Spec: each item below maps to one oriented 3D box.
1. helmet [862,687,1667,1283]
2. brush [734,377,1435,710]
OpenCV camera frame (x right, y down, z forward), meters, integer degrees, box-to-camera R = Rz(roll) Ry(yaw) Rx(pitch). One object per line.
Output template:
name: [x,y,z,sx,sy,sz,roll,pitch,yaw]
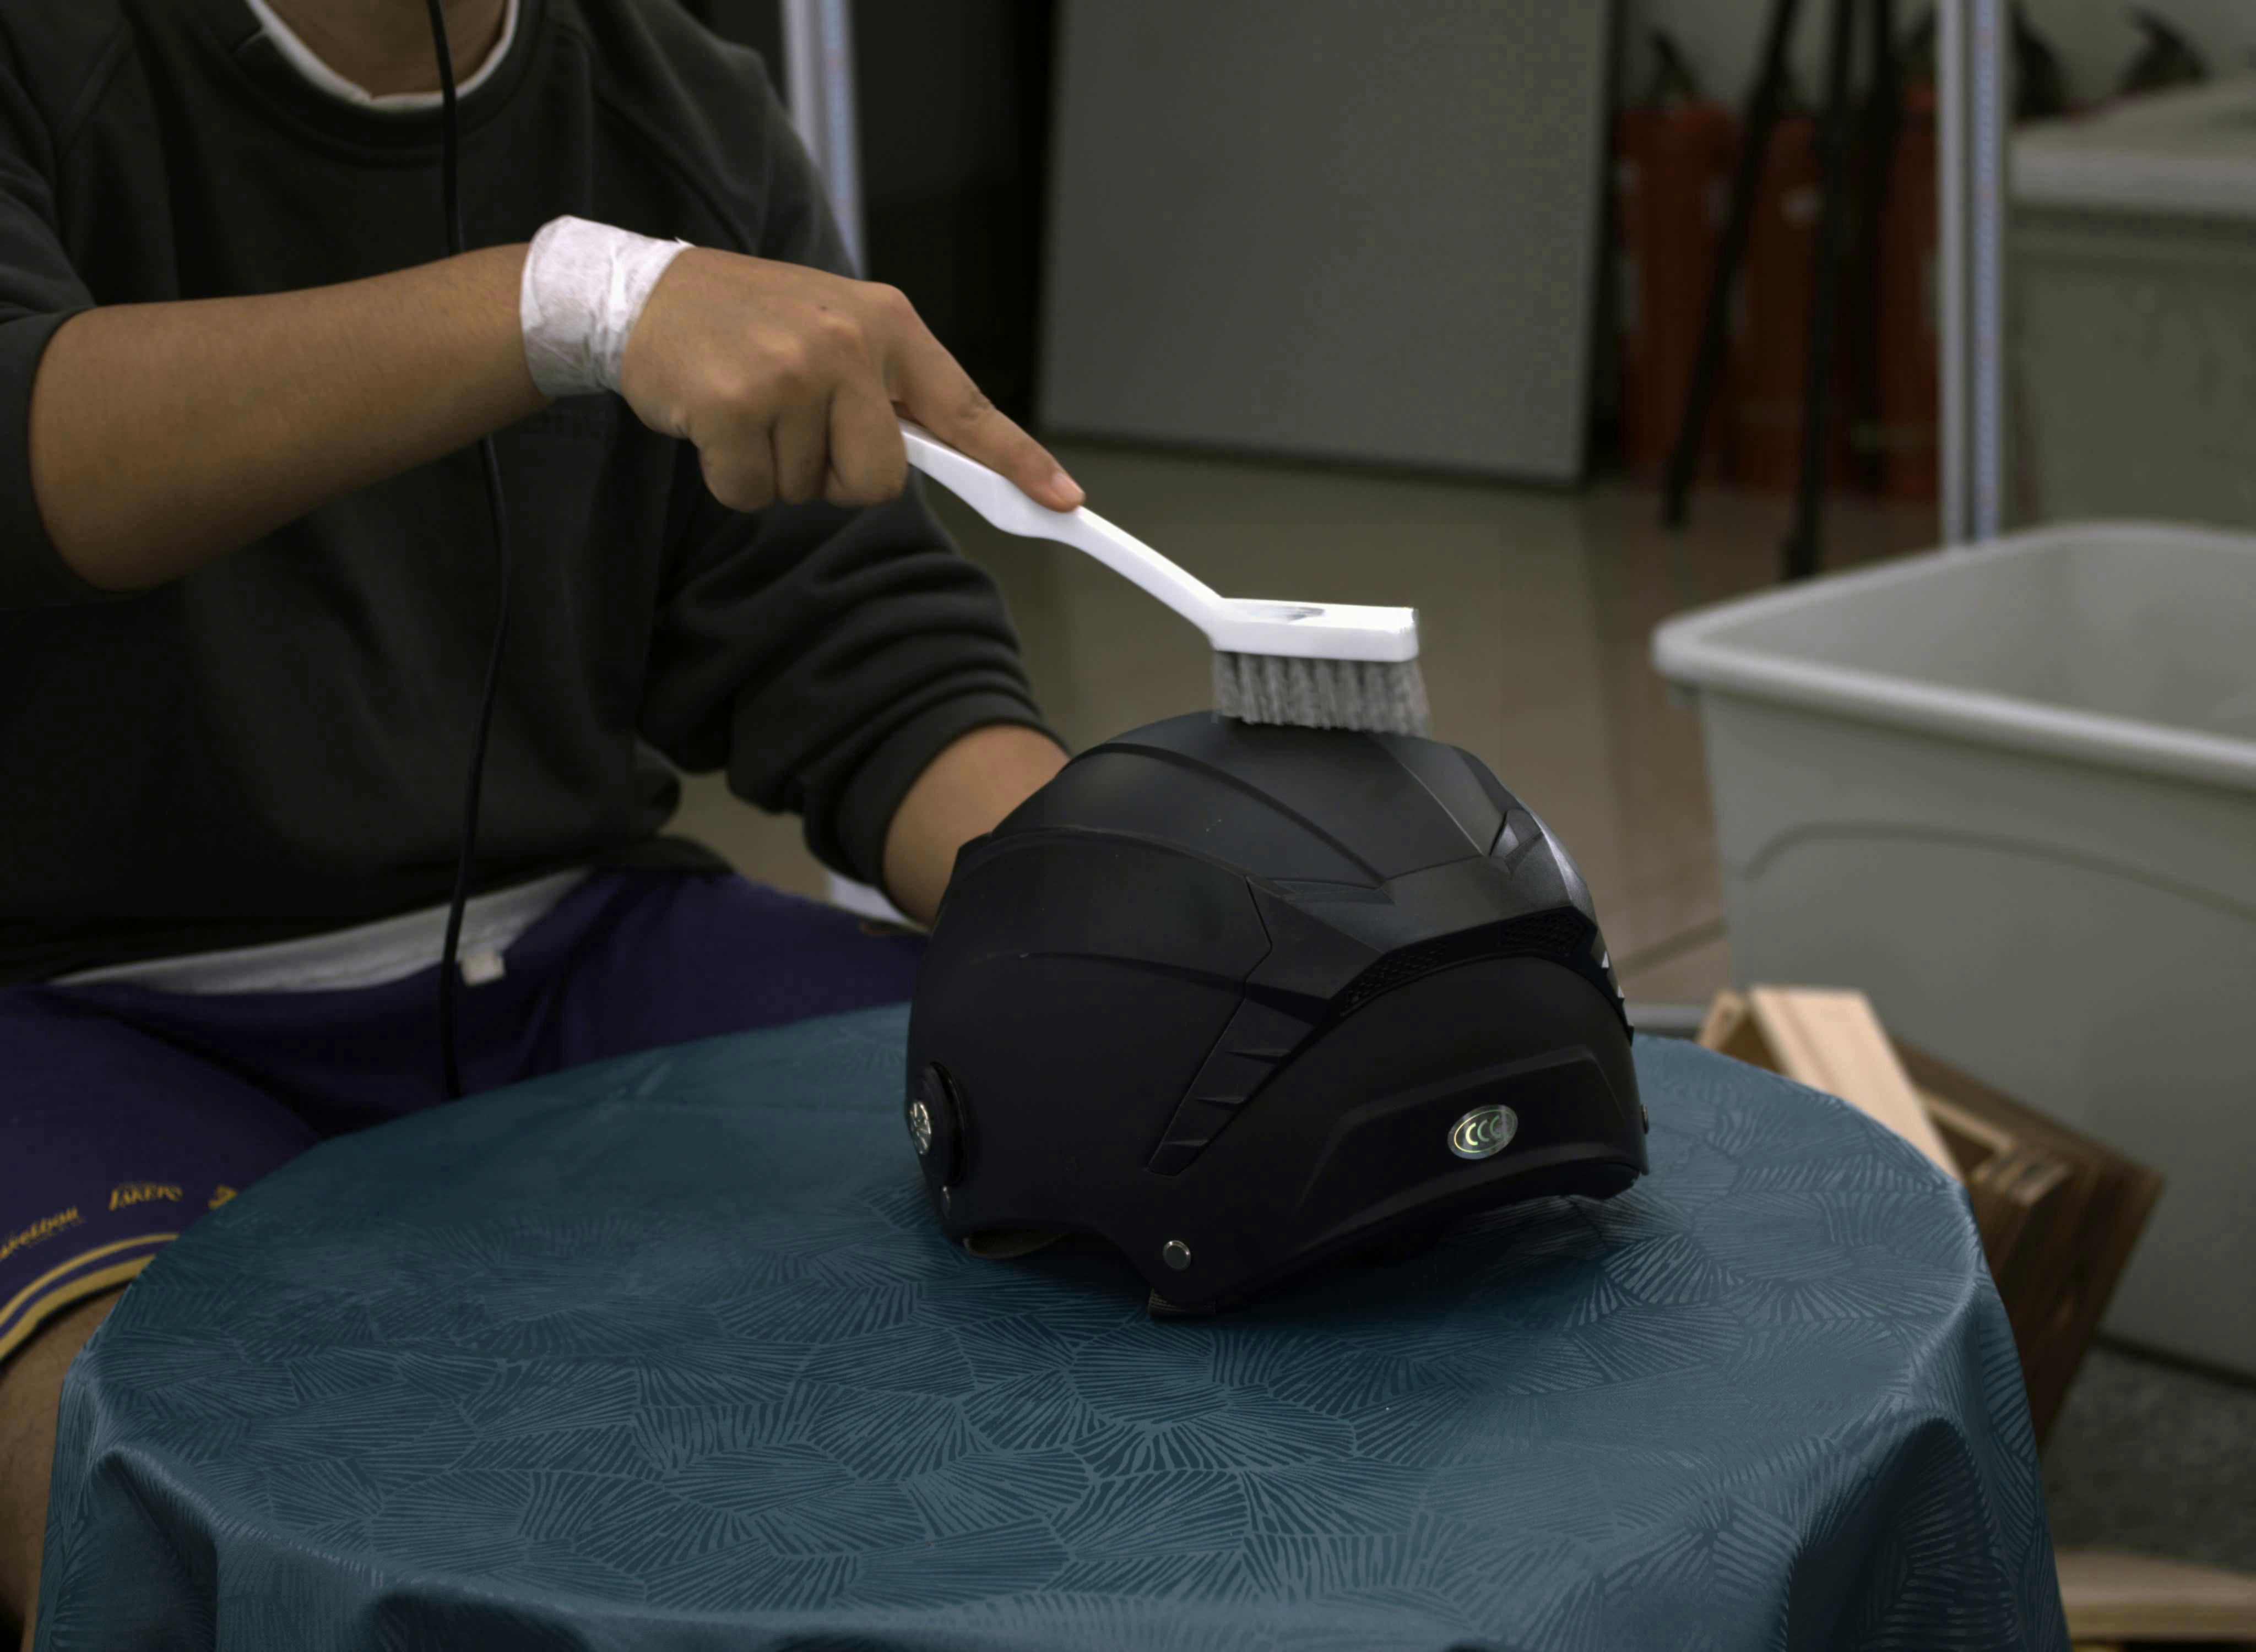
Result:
helmet: [0.045,0.042,1.727,0.241,0.174,0.279,-12,19,-25]
brush: [-0.016,-0.085,1.709,0.242,0.051,0.034,19,16,7]
